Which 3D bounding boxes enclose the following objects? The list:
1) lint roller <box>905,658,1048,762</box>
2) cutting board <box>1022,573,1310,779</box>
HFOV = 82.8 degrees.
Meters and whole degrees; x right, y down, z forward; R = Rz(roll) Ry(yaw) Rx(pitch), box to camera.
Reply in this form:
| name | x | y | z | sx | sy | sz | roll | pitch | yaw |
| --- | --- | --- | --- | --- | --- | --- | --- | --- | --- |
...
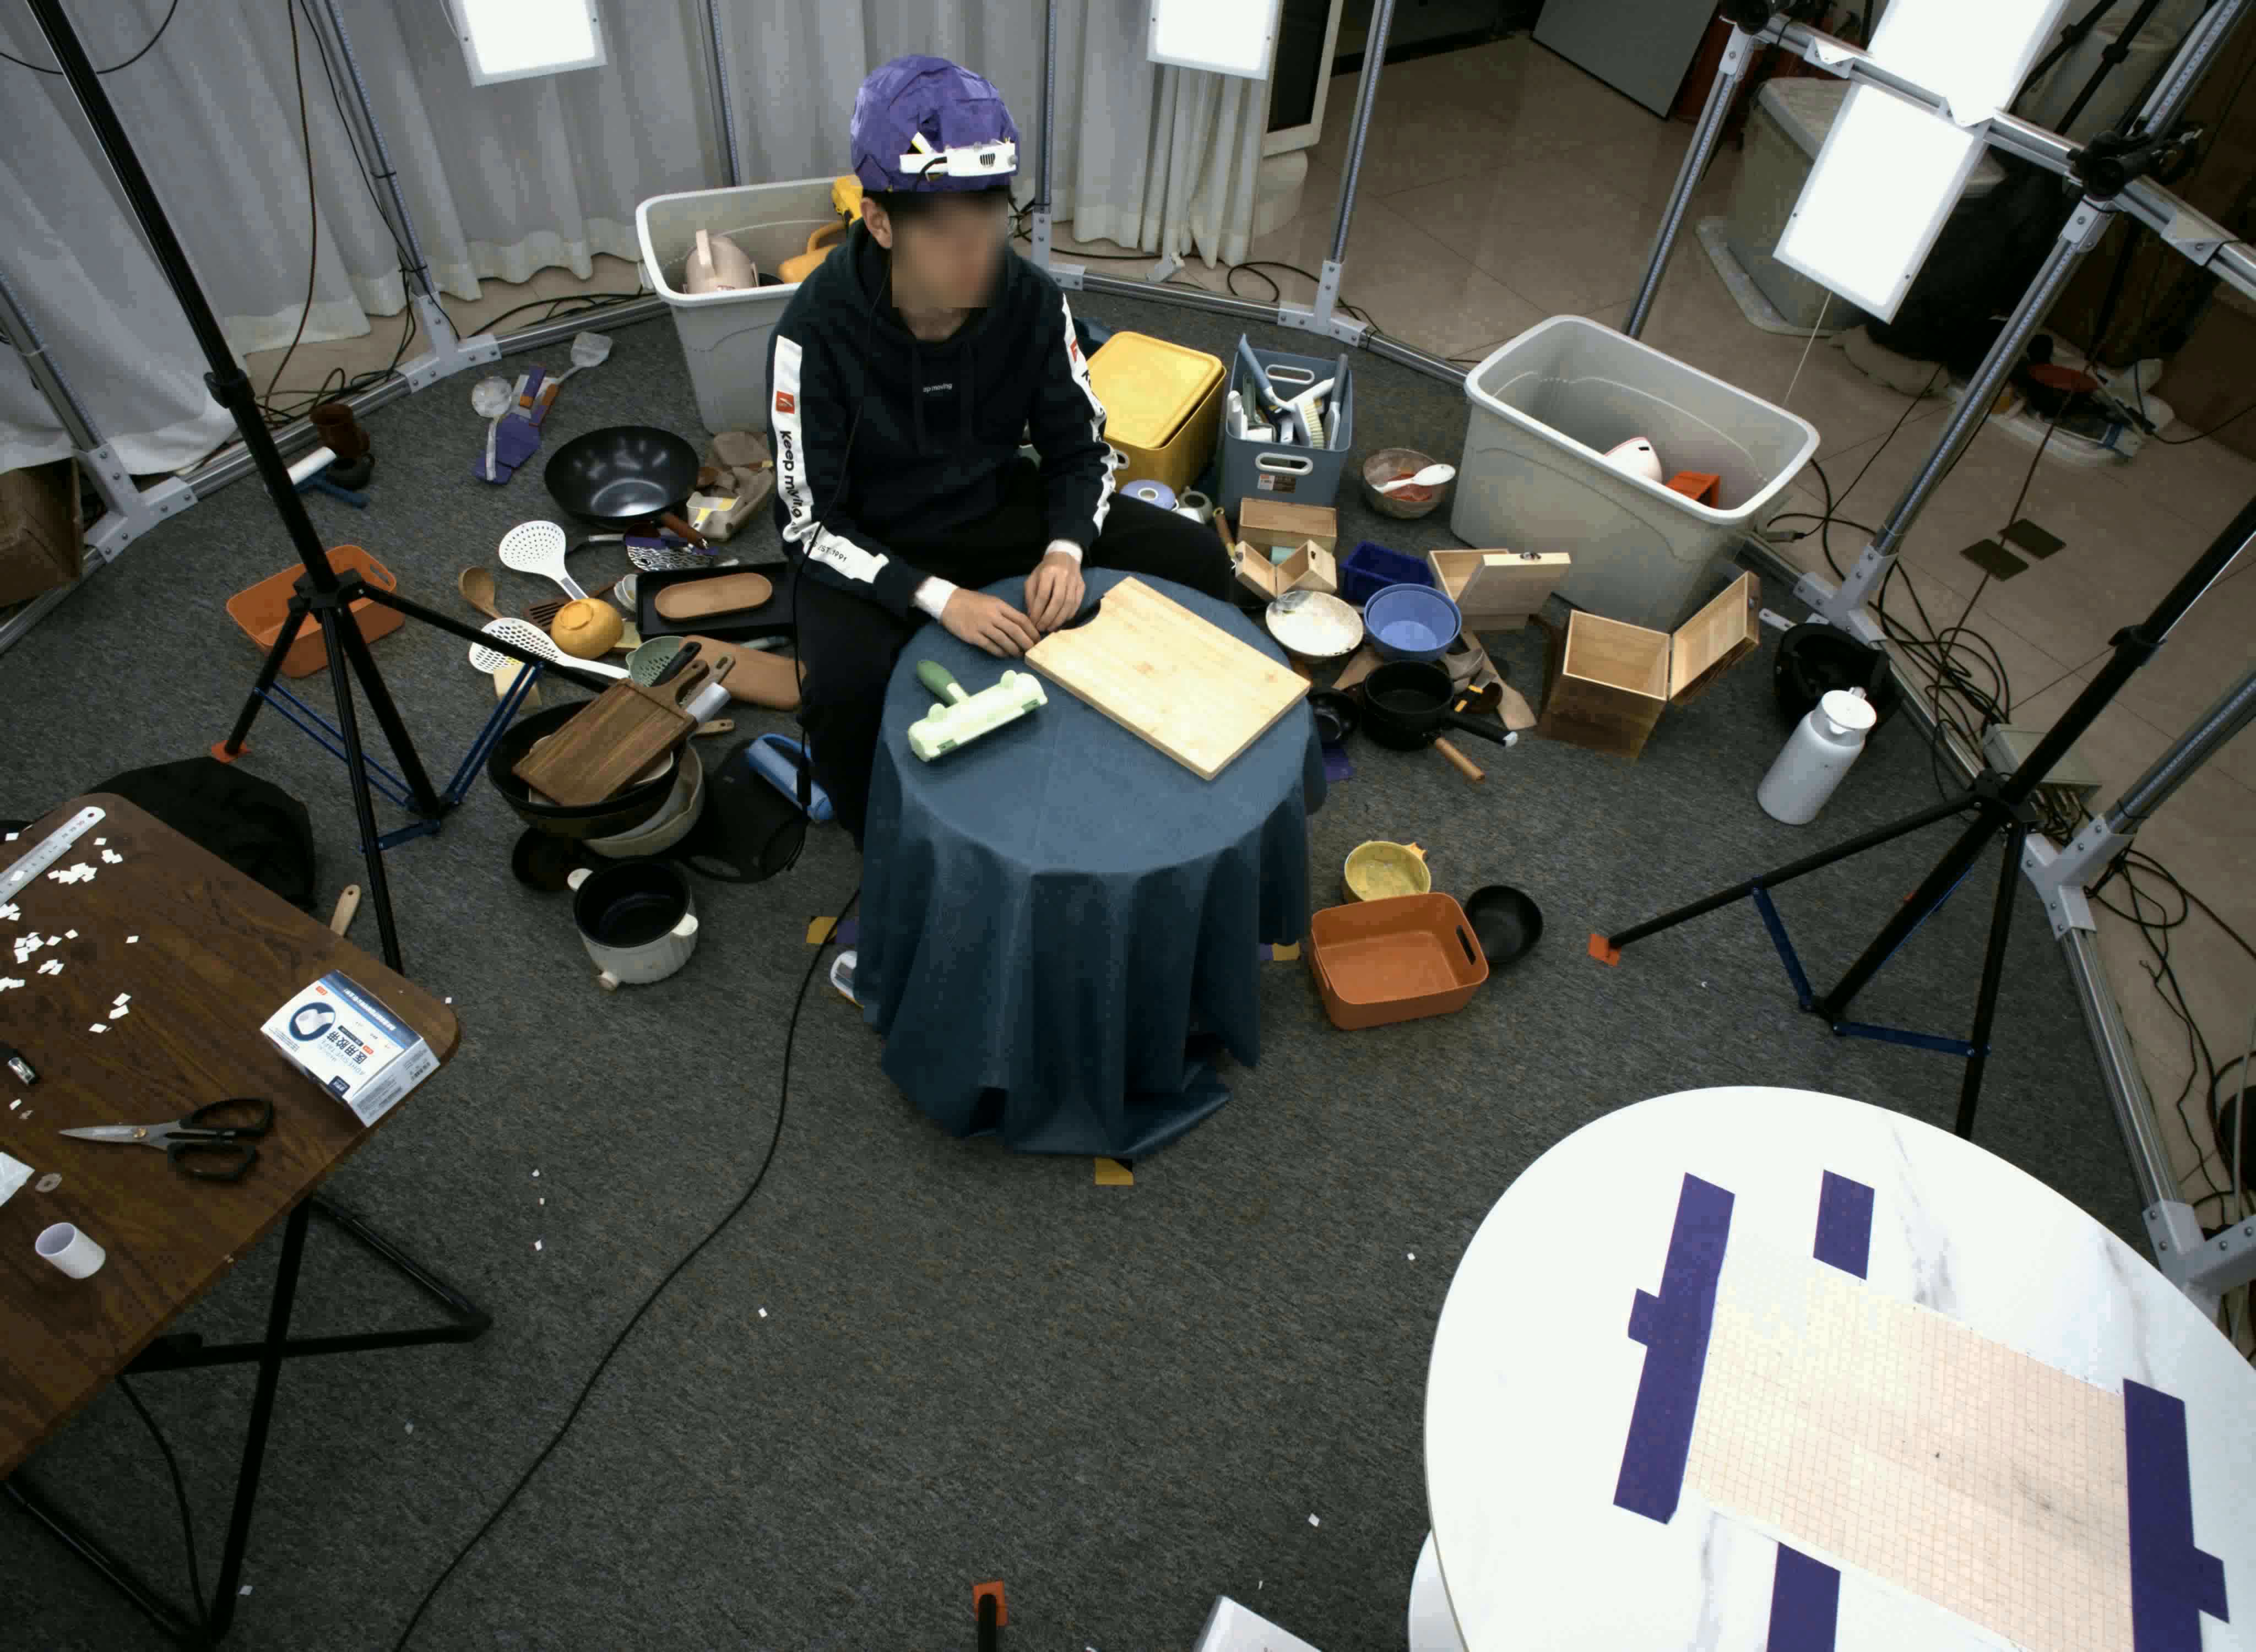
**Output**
| name | x | y | z | sx | sy | sz | roll | pitch | yaw |
| --- | --- | --- | --- | --- | --- | --- | --- | --- | --- |
| lint roller | -0.238 | -0.191 | 1.769 | 0.200 | 0.080 | 0.186 | -28 | 61 | -25 |
| cutting board | 0.053 | -0.224 | 1.856 | 0.353 | 0.023 | 0.253 | 33 | 55 | 23 |
